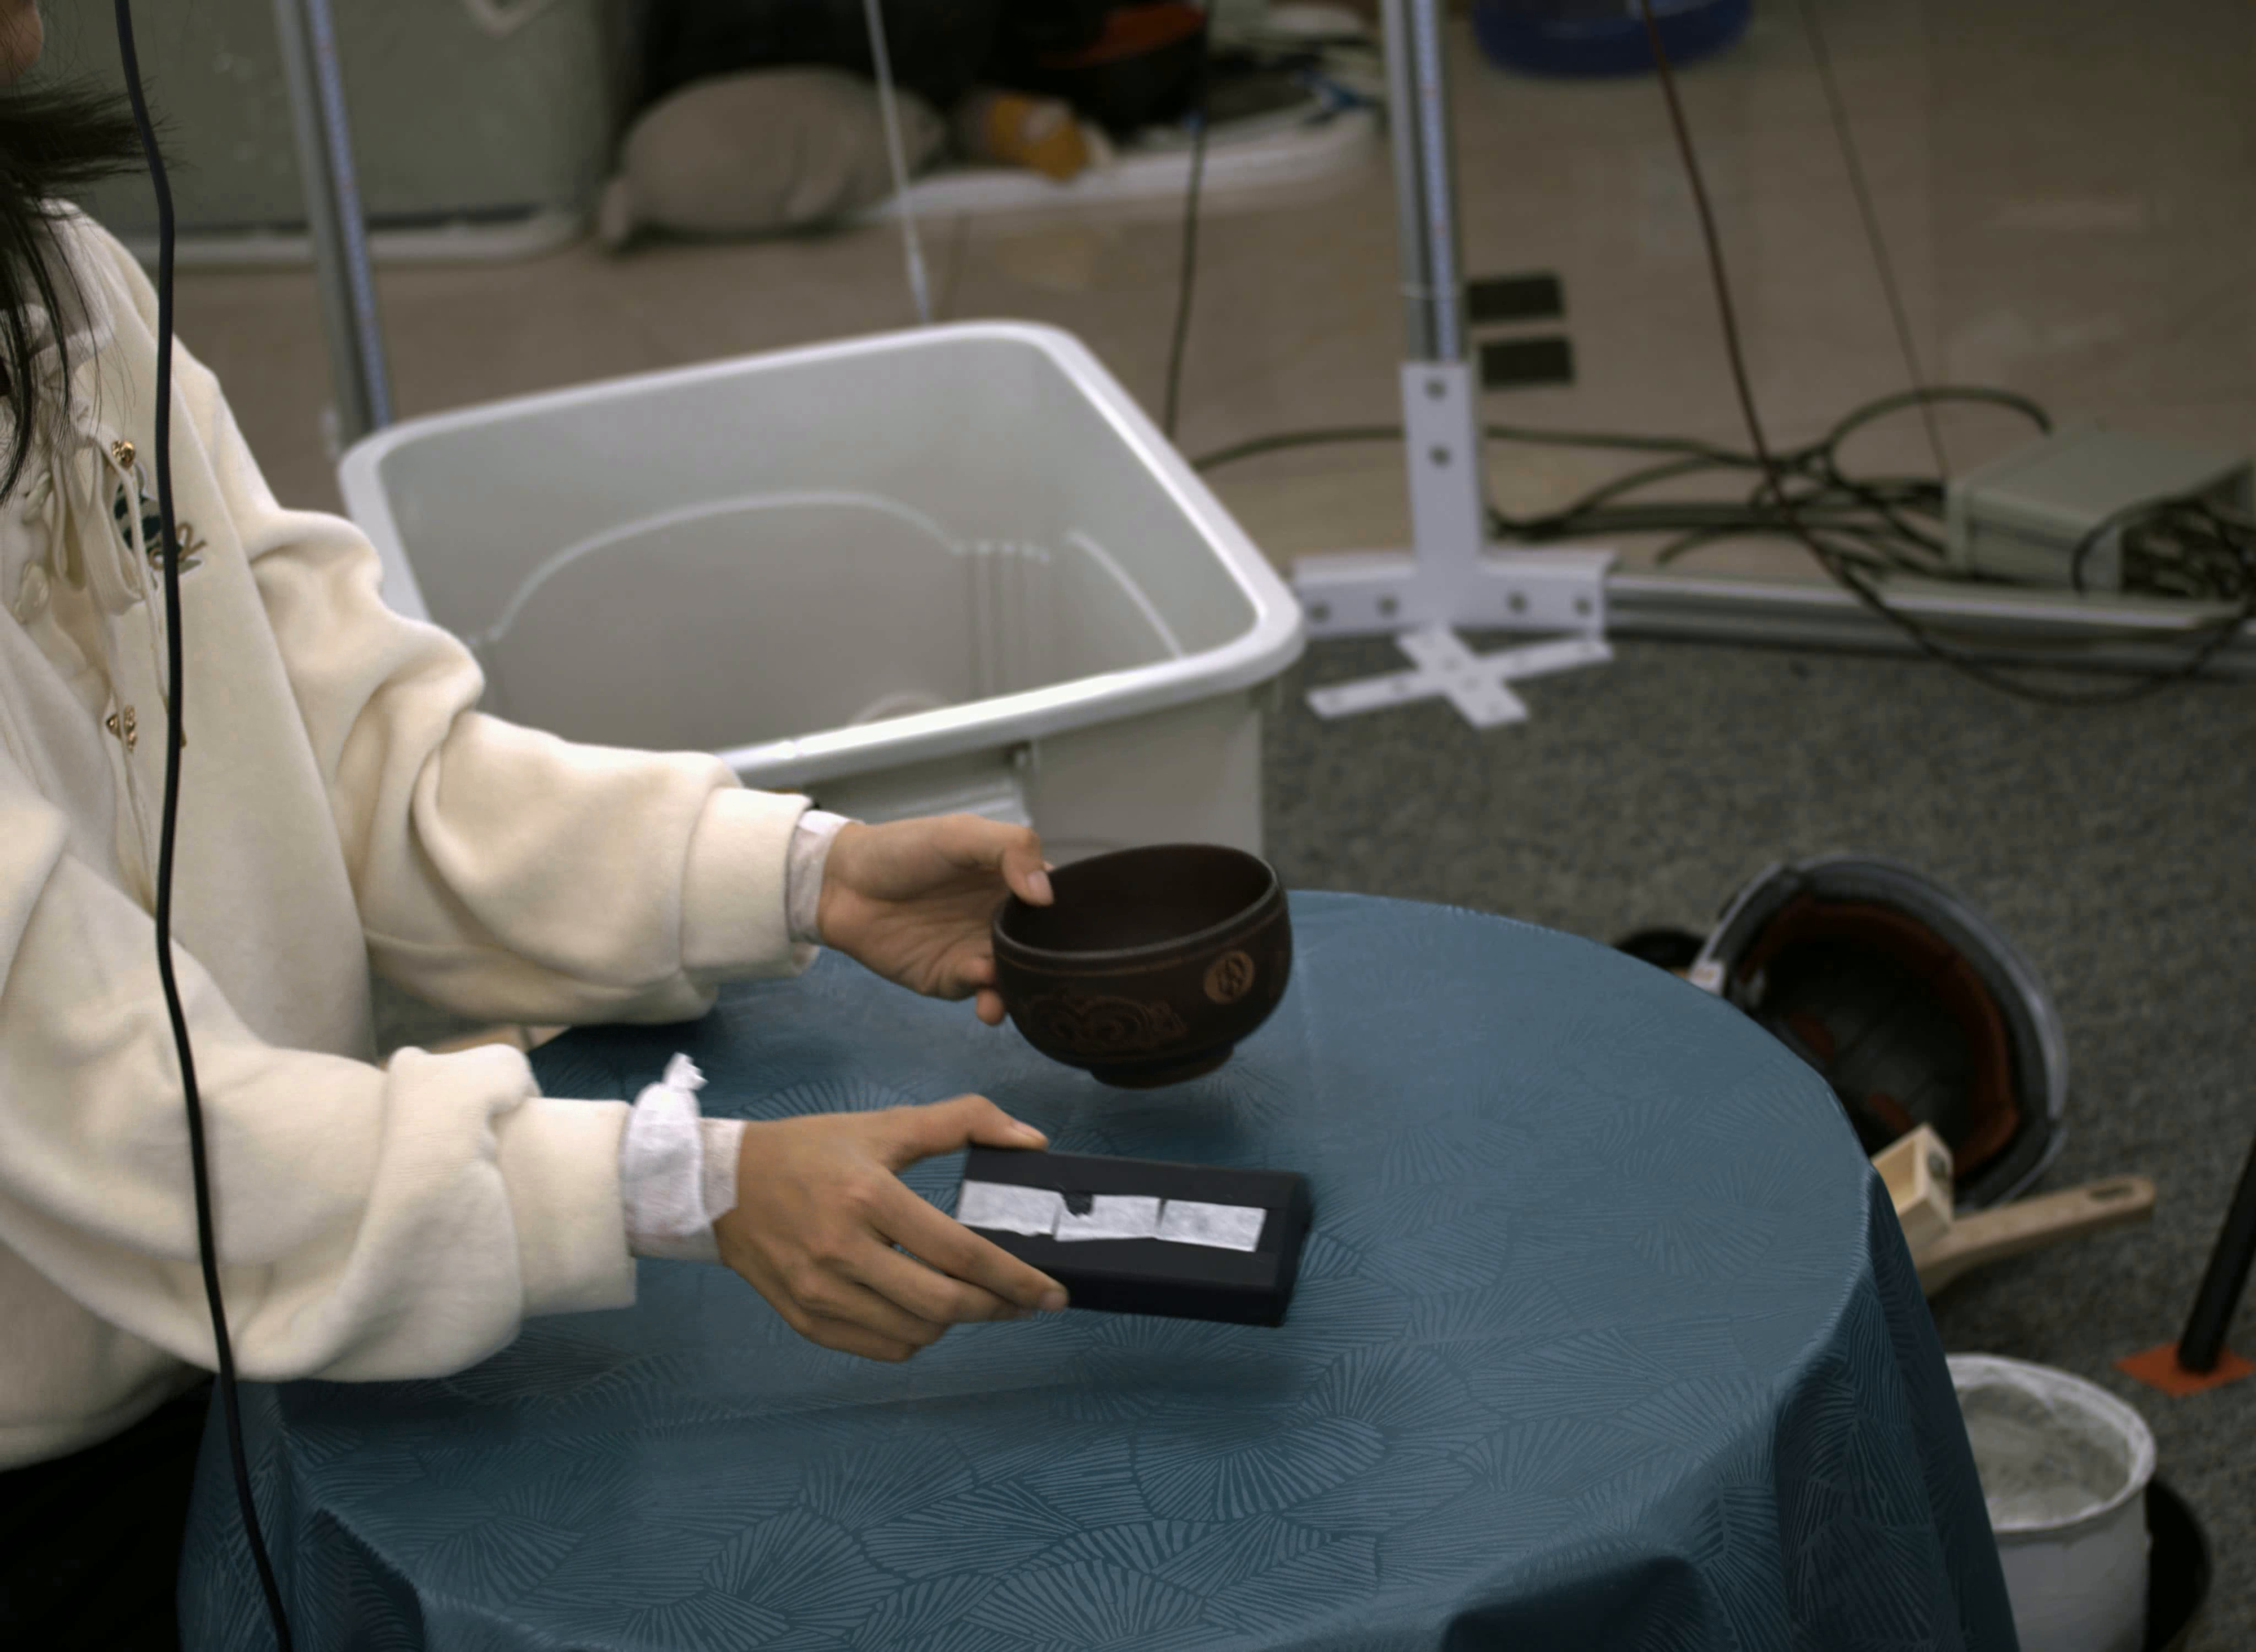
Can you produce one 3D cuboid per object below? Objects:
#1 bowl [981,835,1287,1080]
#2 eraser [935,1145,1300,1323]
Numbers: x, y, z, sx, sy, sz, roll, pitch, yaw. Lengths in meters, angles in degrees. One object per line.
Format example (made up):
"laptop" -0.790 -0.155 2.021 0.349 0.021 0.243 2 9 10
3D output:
"bowl" 0.005 0.056 2.191 0.118 0.071 0.116 -9 20 3
"eraser" -0.002 0.144 2.007 0.125 0.031 0.053 3 61 14
